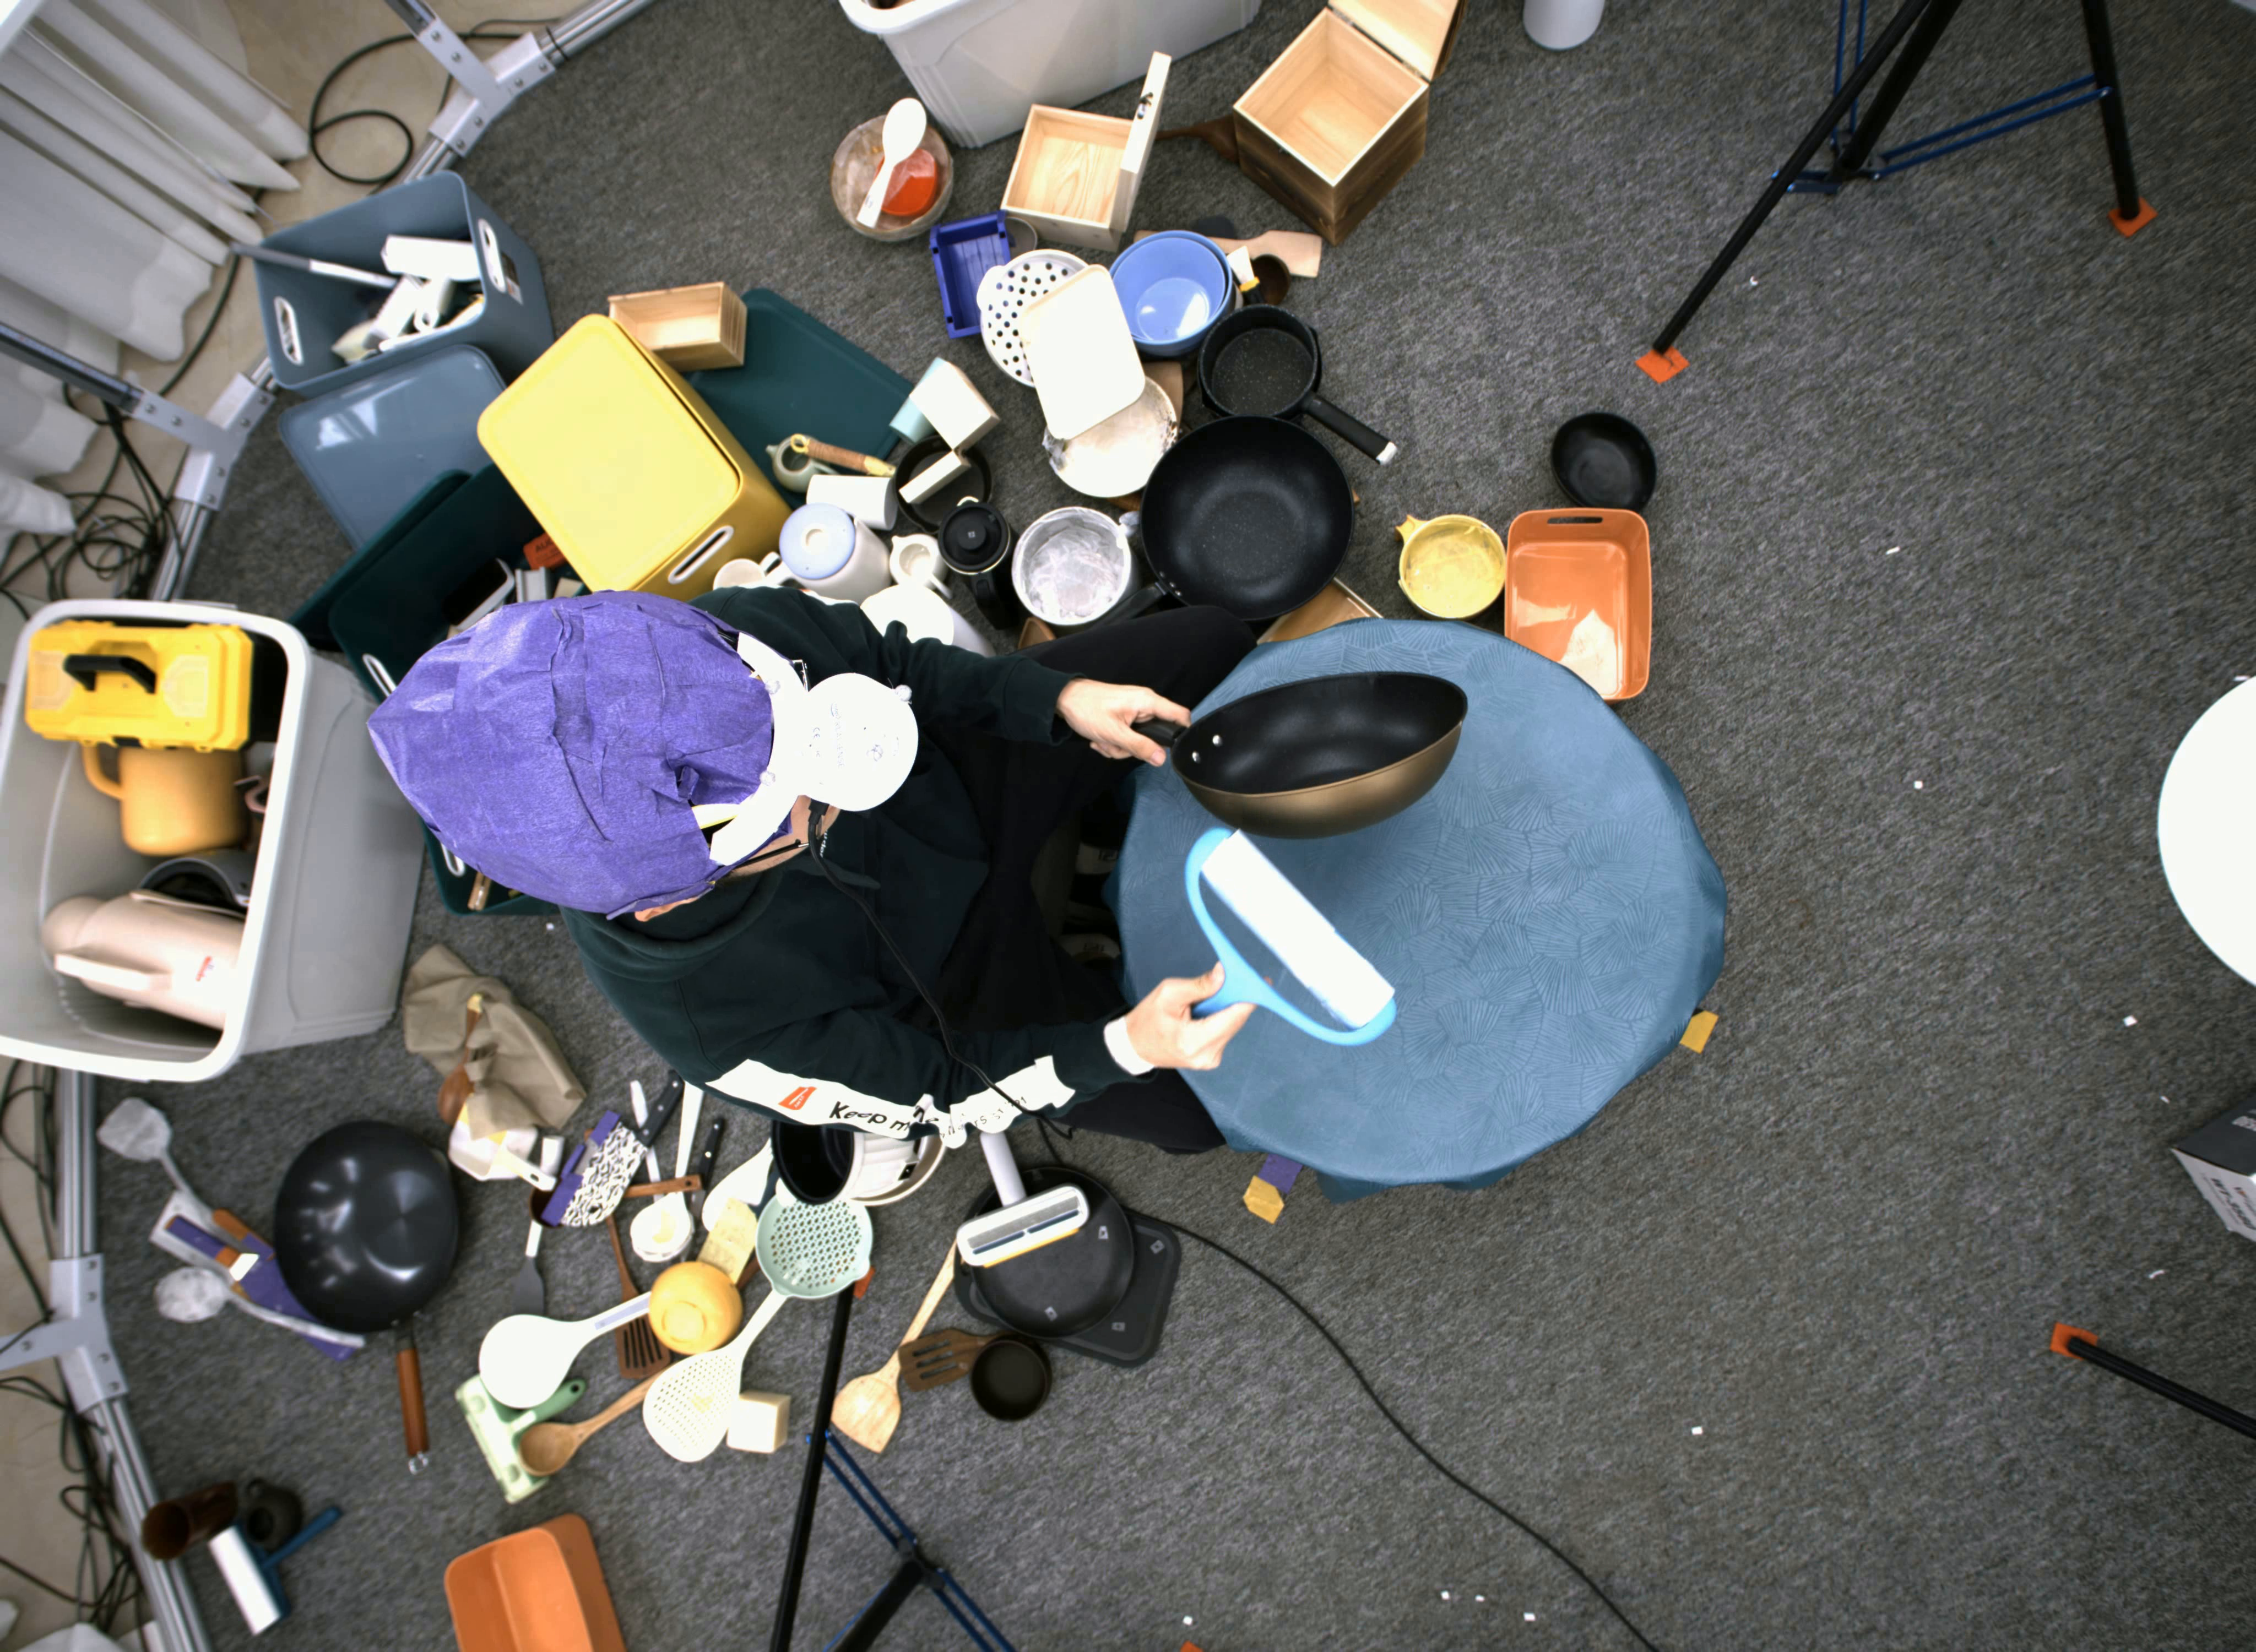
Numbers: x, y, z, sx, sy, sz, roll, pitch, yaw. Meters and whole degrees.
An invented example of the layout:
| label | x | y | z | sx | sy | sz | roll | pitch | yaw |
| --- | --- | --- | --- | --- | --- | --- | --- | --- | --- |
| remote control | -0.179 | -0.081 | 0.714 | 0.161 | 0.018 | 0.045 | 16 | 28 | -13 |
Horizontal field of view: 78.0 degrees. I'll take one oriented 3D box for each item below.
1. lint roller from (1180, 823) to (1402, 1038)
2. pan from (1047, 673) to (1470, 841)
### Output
| label | x | y | z | sx | sy | sz | roll | pitch | yaw |
| --- | --- | --- | --- | --- | --- | --- | --- | --- | --- |
| lint roller | 0.108 | 0.127 | 1.203 | 0.229 | 0.067 | 0.183 | 42 | 107 | 2 |
| pan | 0.109 | -0.062 | 1.339 | 0.466 | 0.281 | 0.088 | 3 | 119 | 37 |
